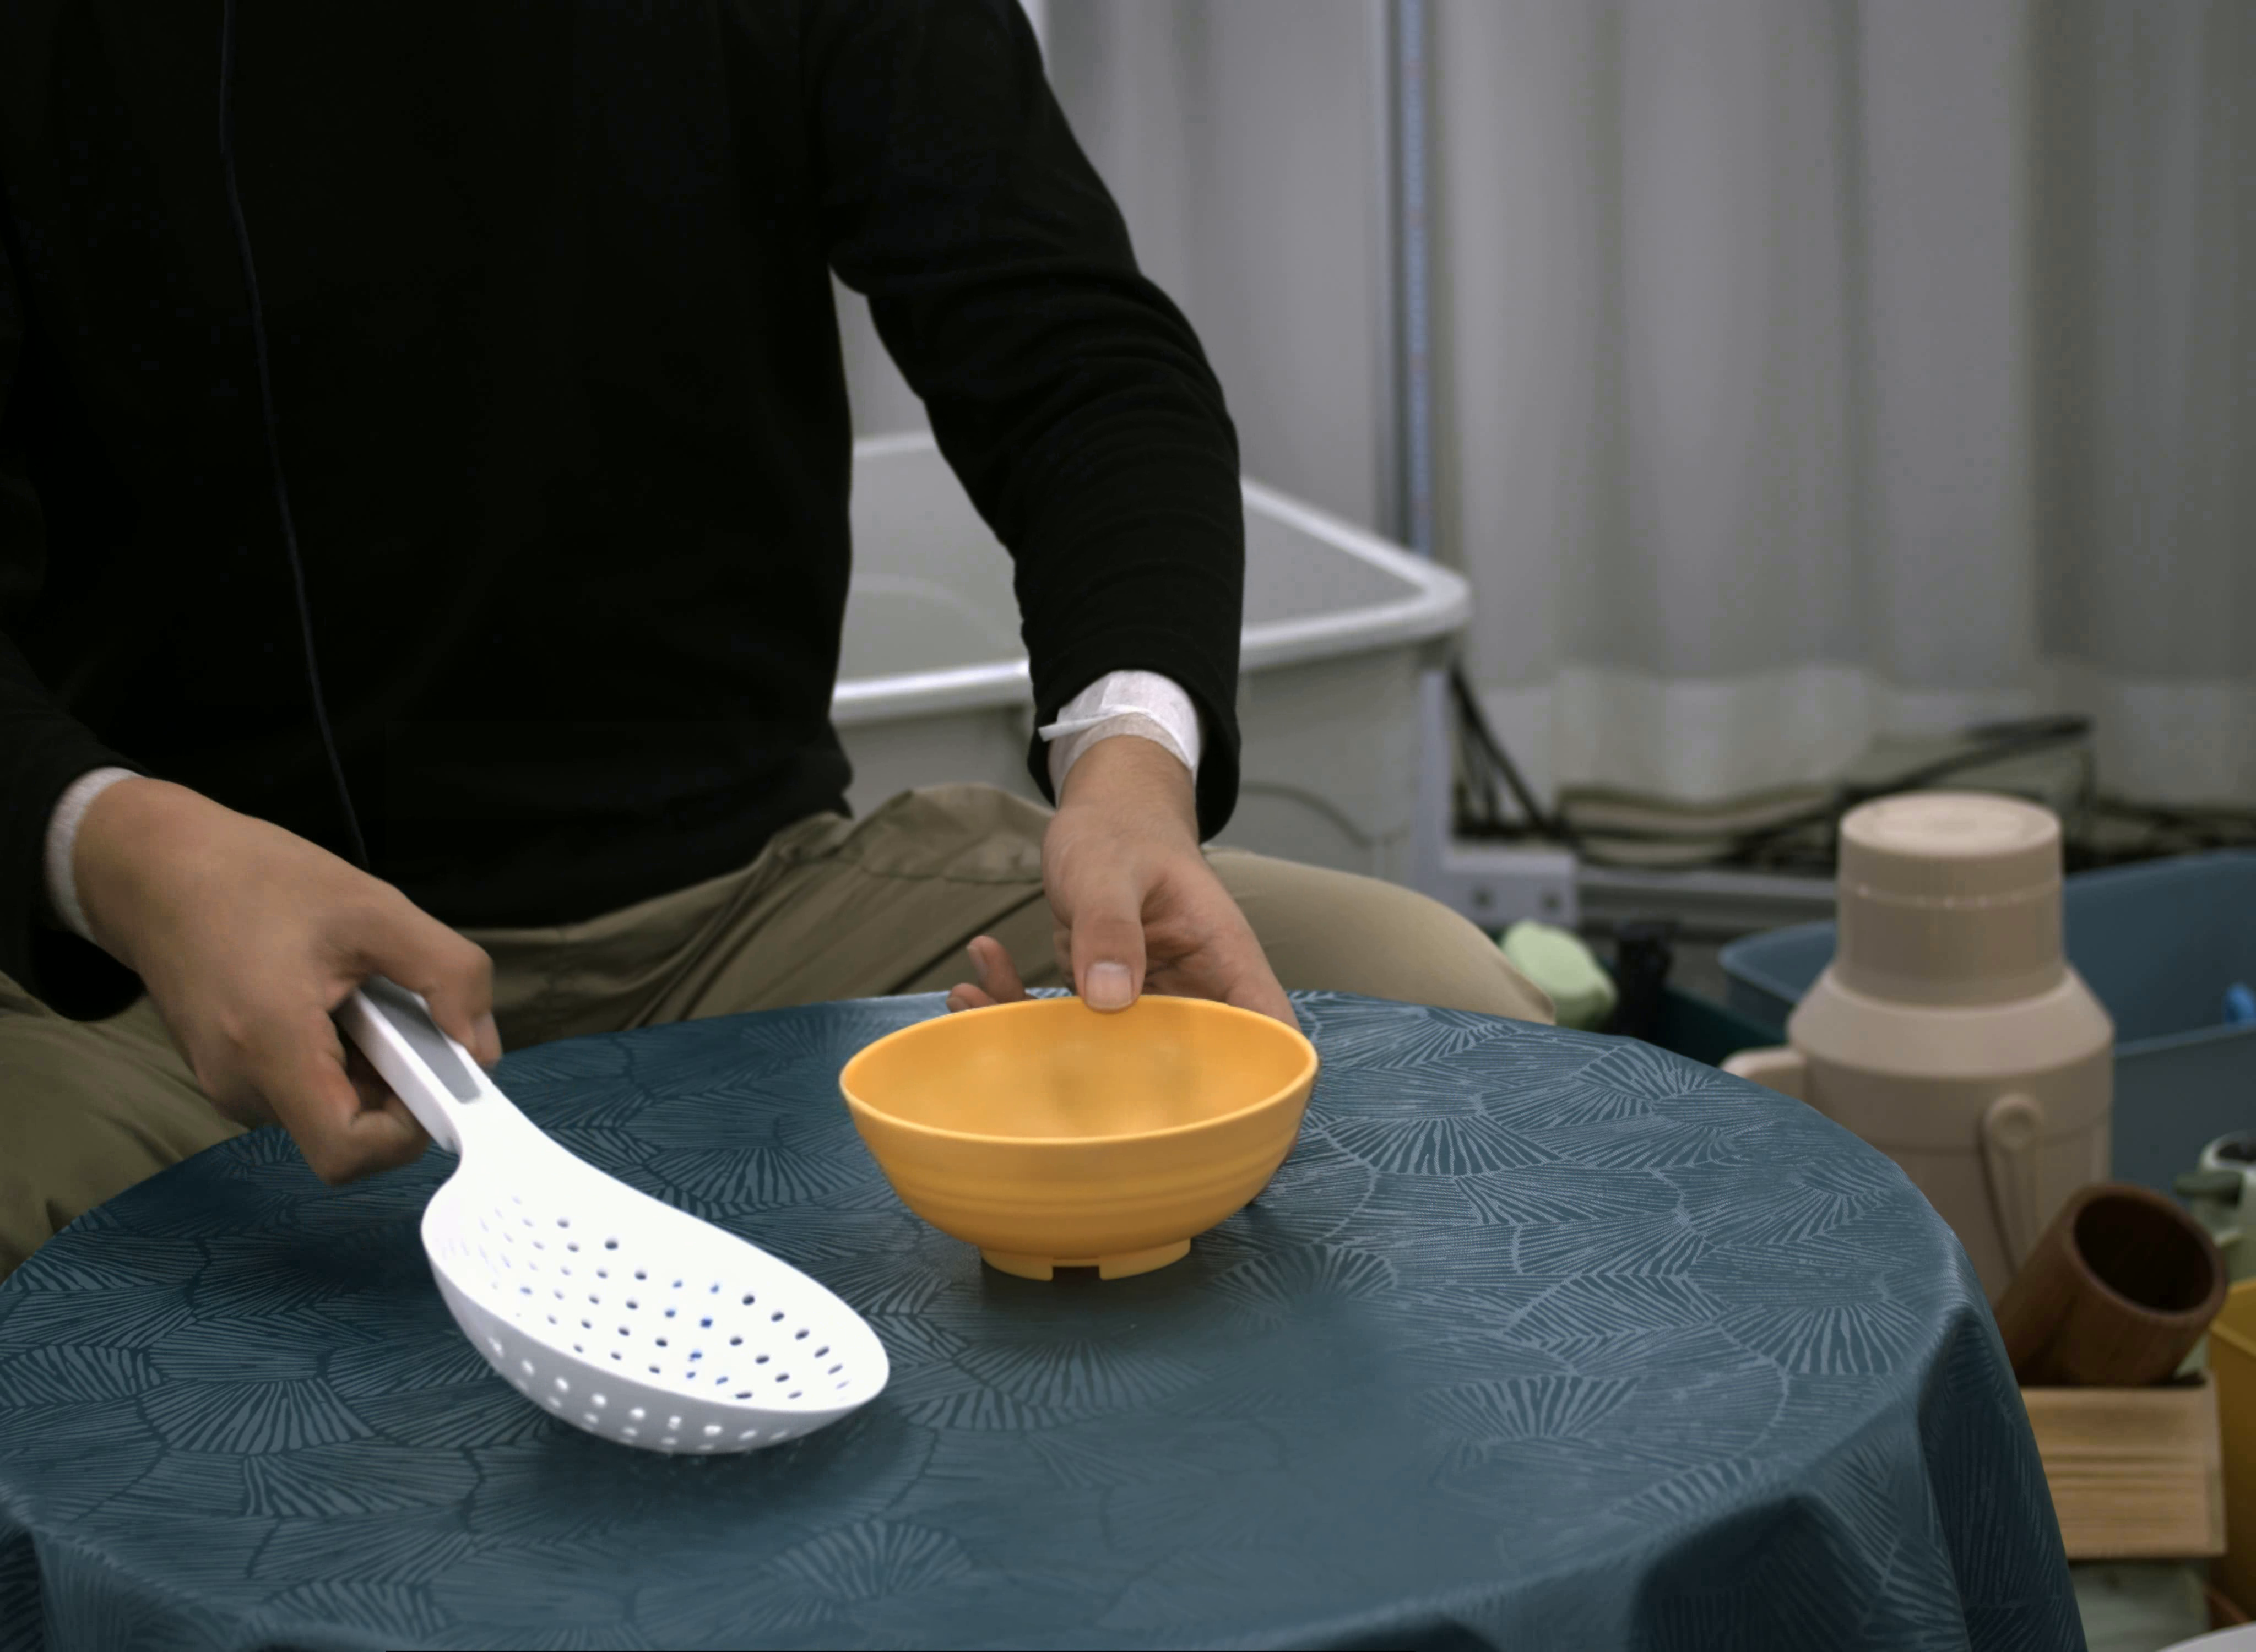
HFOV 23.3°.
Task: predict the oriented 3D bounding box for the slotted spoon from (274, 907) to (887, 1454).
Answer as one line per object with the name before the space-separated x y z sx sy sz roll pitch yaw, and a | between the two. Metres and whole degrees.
slotted spoon | -0.183 0.097 1.604 0.135 0.045 0.354 10 21 -32

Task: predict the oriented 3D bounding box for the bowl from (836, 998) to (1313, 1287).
bowl | -0.016 0.101 1.659 0.145 0.060 0.146 -1 15 0
